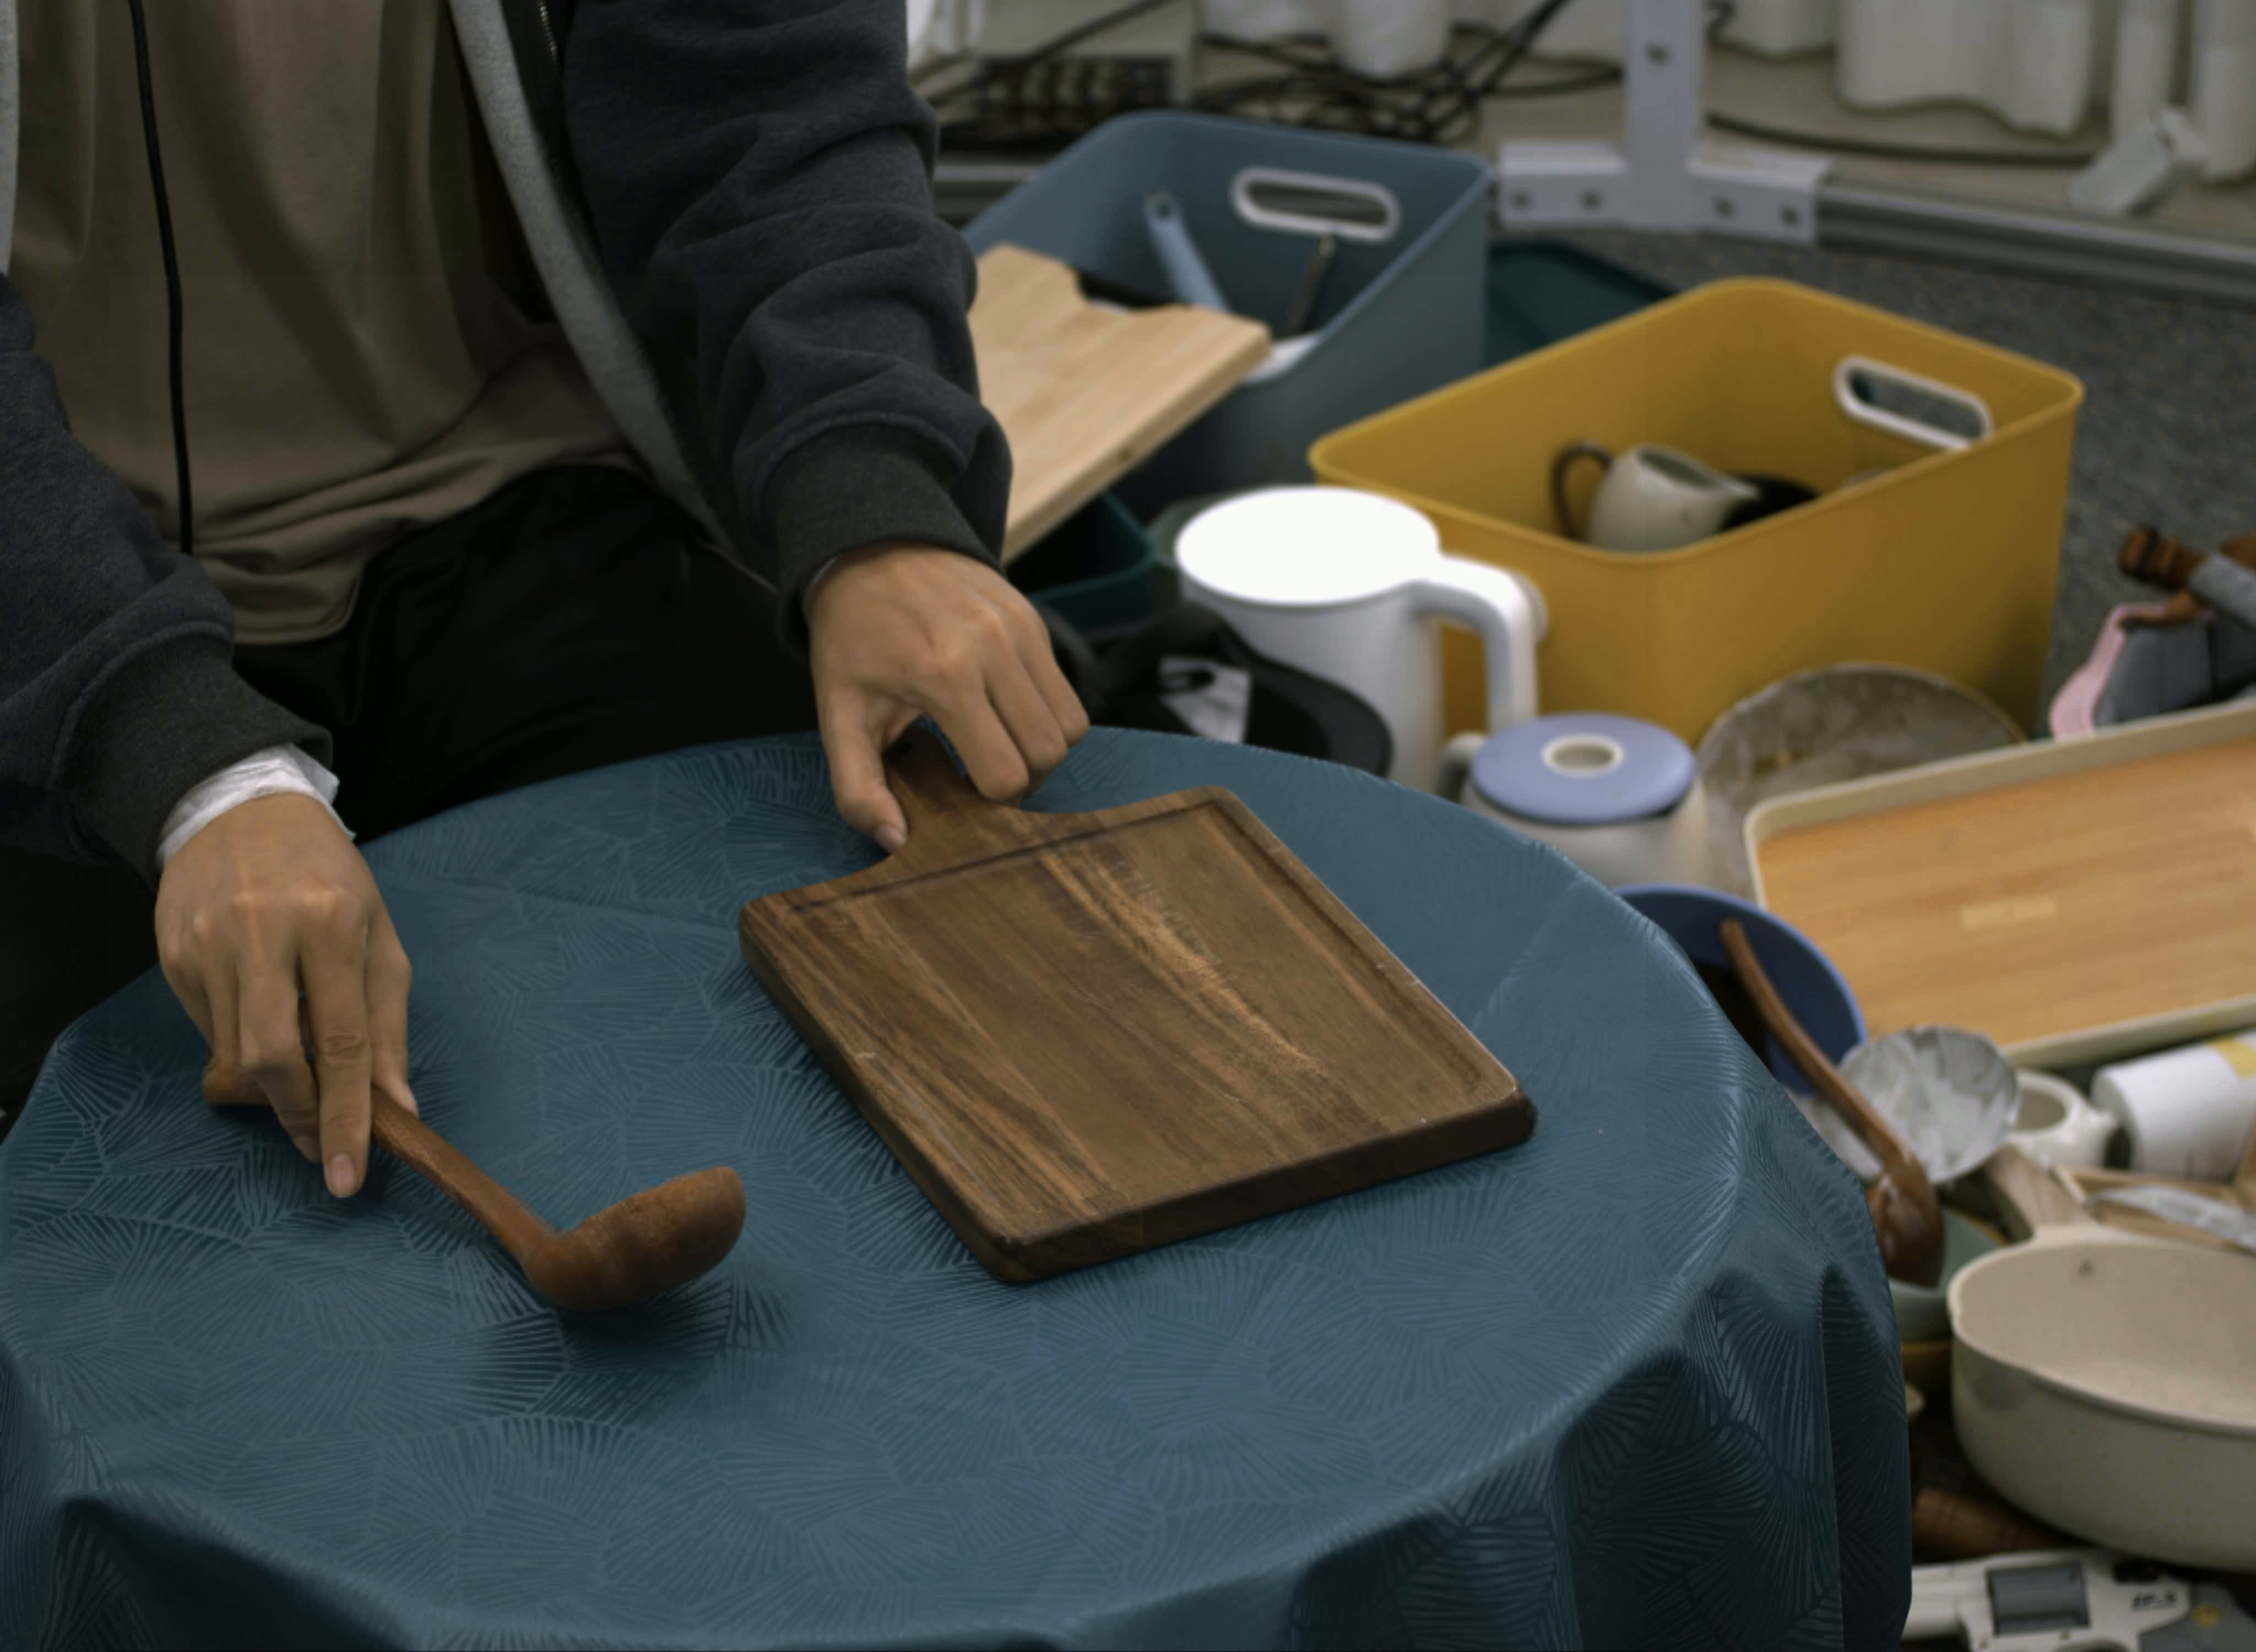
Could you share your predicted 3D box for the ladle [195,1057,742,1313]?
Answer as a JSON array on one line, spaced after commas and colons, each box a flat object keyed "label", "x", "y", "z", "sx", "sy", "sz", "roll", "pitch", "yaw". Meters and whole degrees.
[{"label": "ladle", "x": -0.226, "y": 0.103, "z": 1.852, "sx": 0.077, "sy": 0.064, "sz": 0.260, "roll": -11, "pitch": 25, "yaw": -43}]

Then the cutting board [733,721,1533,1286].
[{"label": "cutting board", "x": -0.023, "y": 0.045, "z": 1.980, "sx": 0.202, "sy": 0.023, "sz": 0.355, "roll": -13, "pitch": 31, "yaw": -21}]
